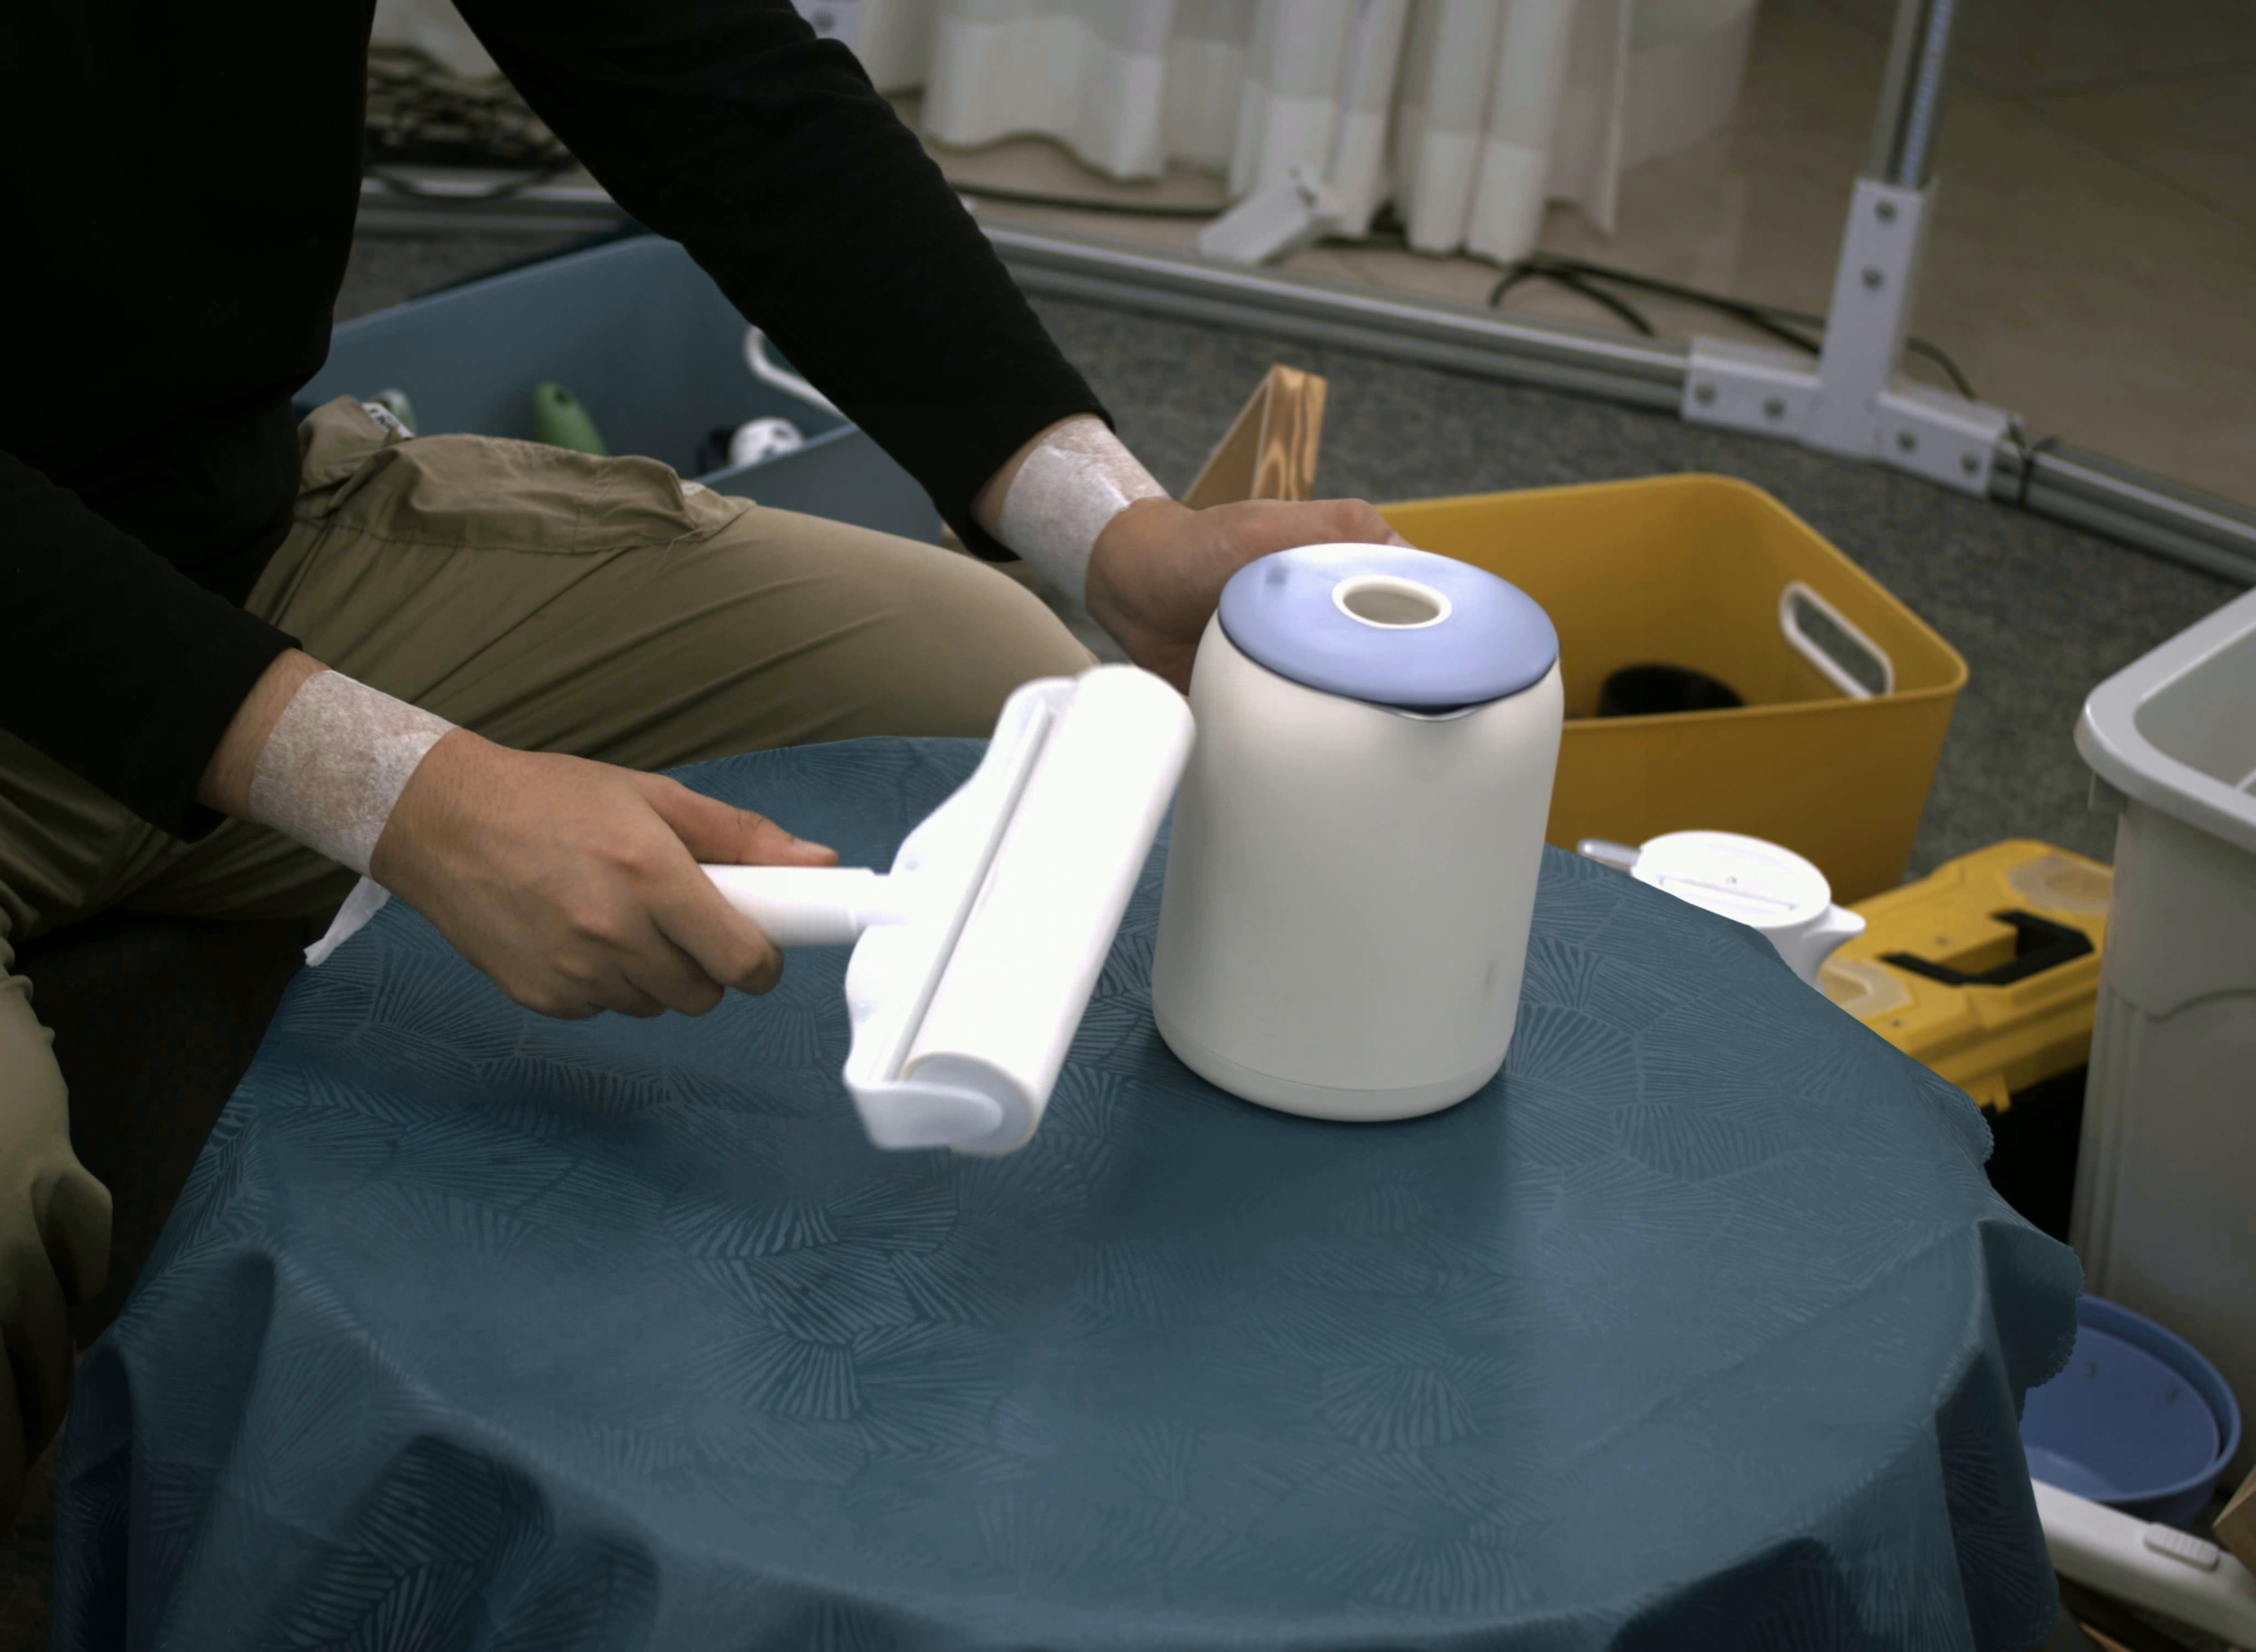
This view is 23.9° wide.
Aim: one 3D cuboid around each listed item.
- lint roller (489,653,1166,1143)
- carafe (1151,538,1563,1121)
[{"bbox_3d":[-0.112,0.021,1.780,0.226,0.048,0.204,0,42,18],"label":"lint roller"},{"bbox_3d":[0.075,-0.010,1.892,0.131,0.182,0.192,0,26,-14],"label":"carafe"}]
